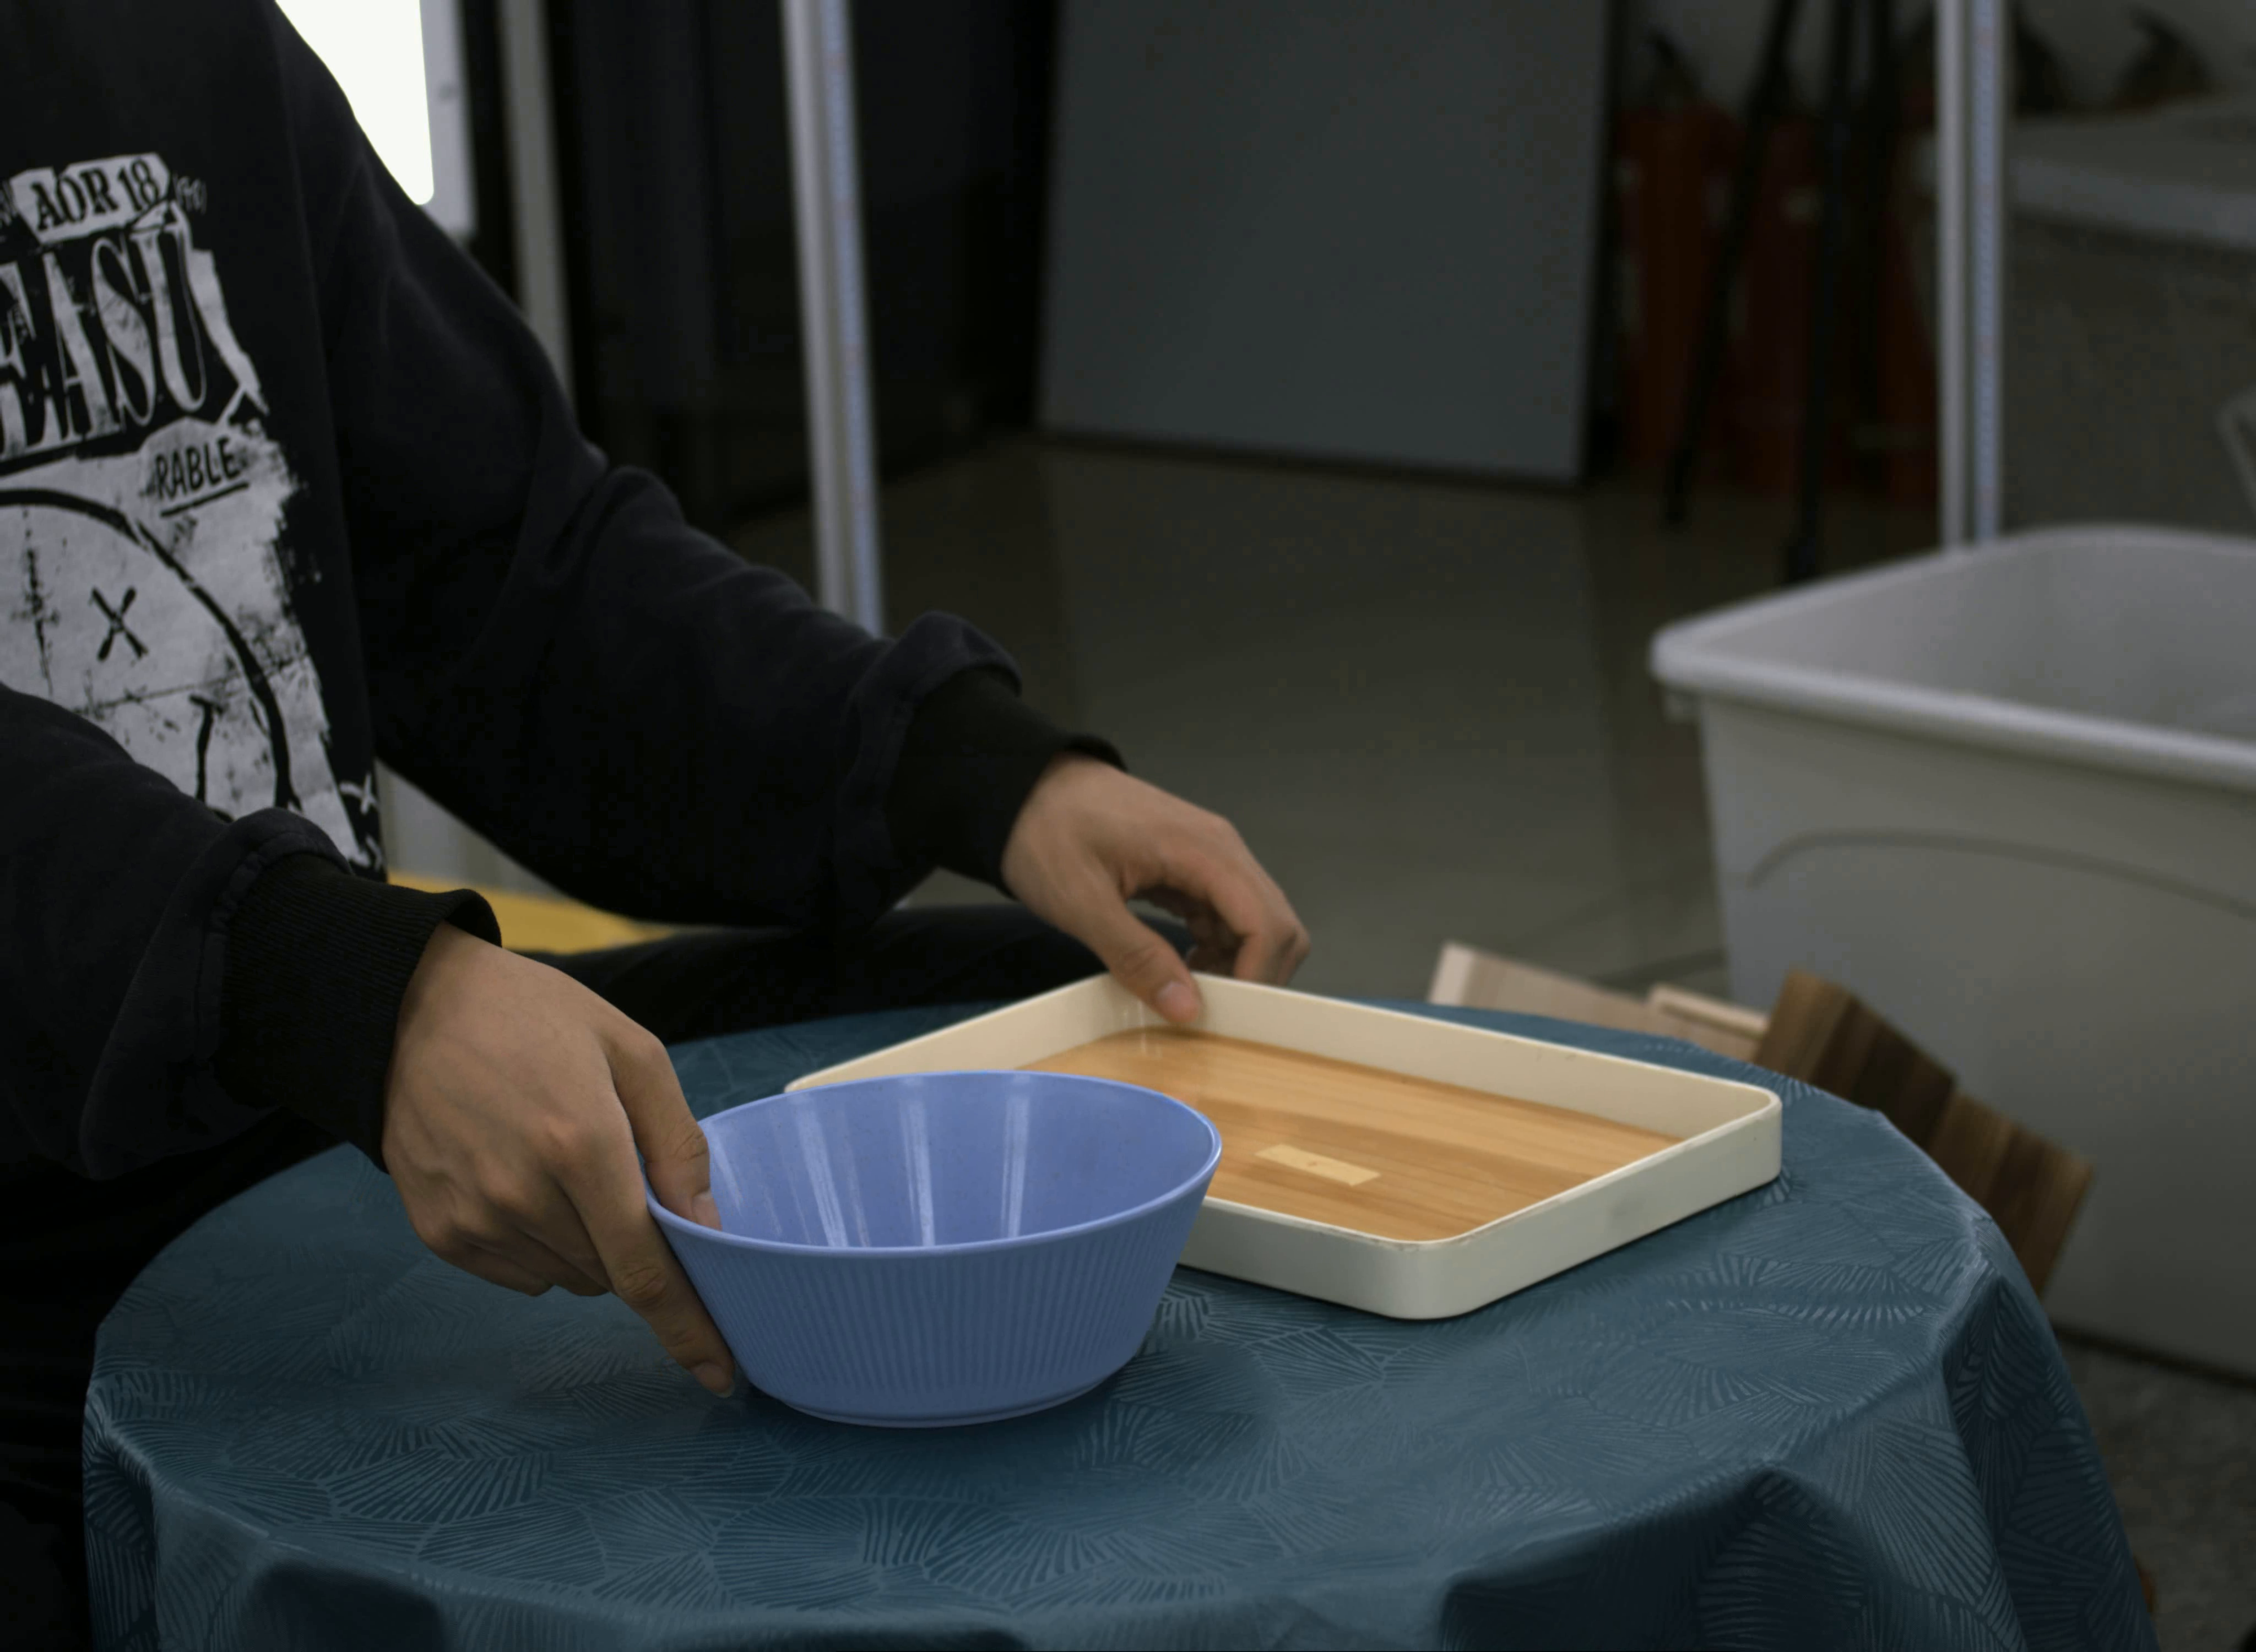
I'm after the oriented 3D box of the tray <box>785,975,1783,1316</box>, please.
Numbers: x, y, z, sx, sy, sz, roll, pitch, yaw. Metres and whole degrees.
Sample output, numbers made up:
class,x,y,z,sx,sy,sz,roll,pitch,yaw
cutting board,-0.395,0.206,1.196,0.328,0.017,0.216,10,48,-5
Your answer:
class,x,y,z,sx,sy,sz,roll,pitch,yaw
tray,0.049,0.102,1.781,0.303,0.028,0.187,10,19,44

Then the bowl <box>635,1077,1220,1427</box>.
class,x,y,z,sx,sy,sz,roll,pitch,yaw
bowl,-0.058,0.129,1.608,0.174,0.071,0.176,-3,13,0
